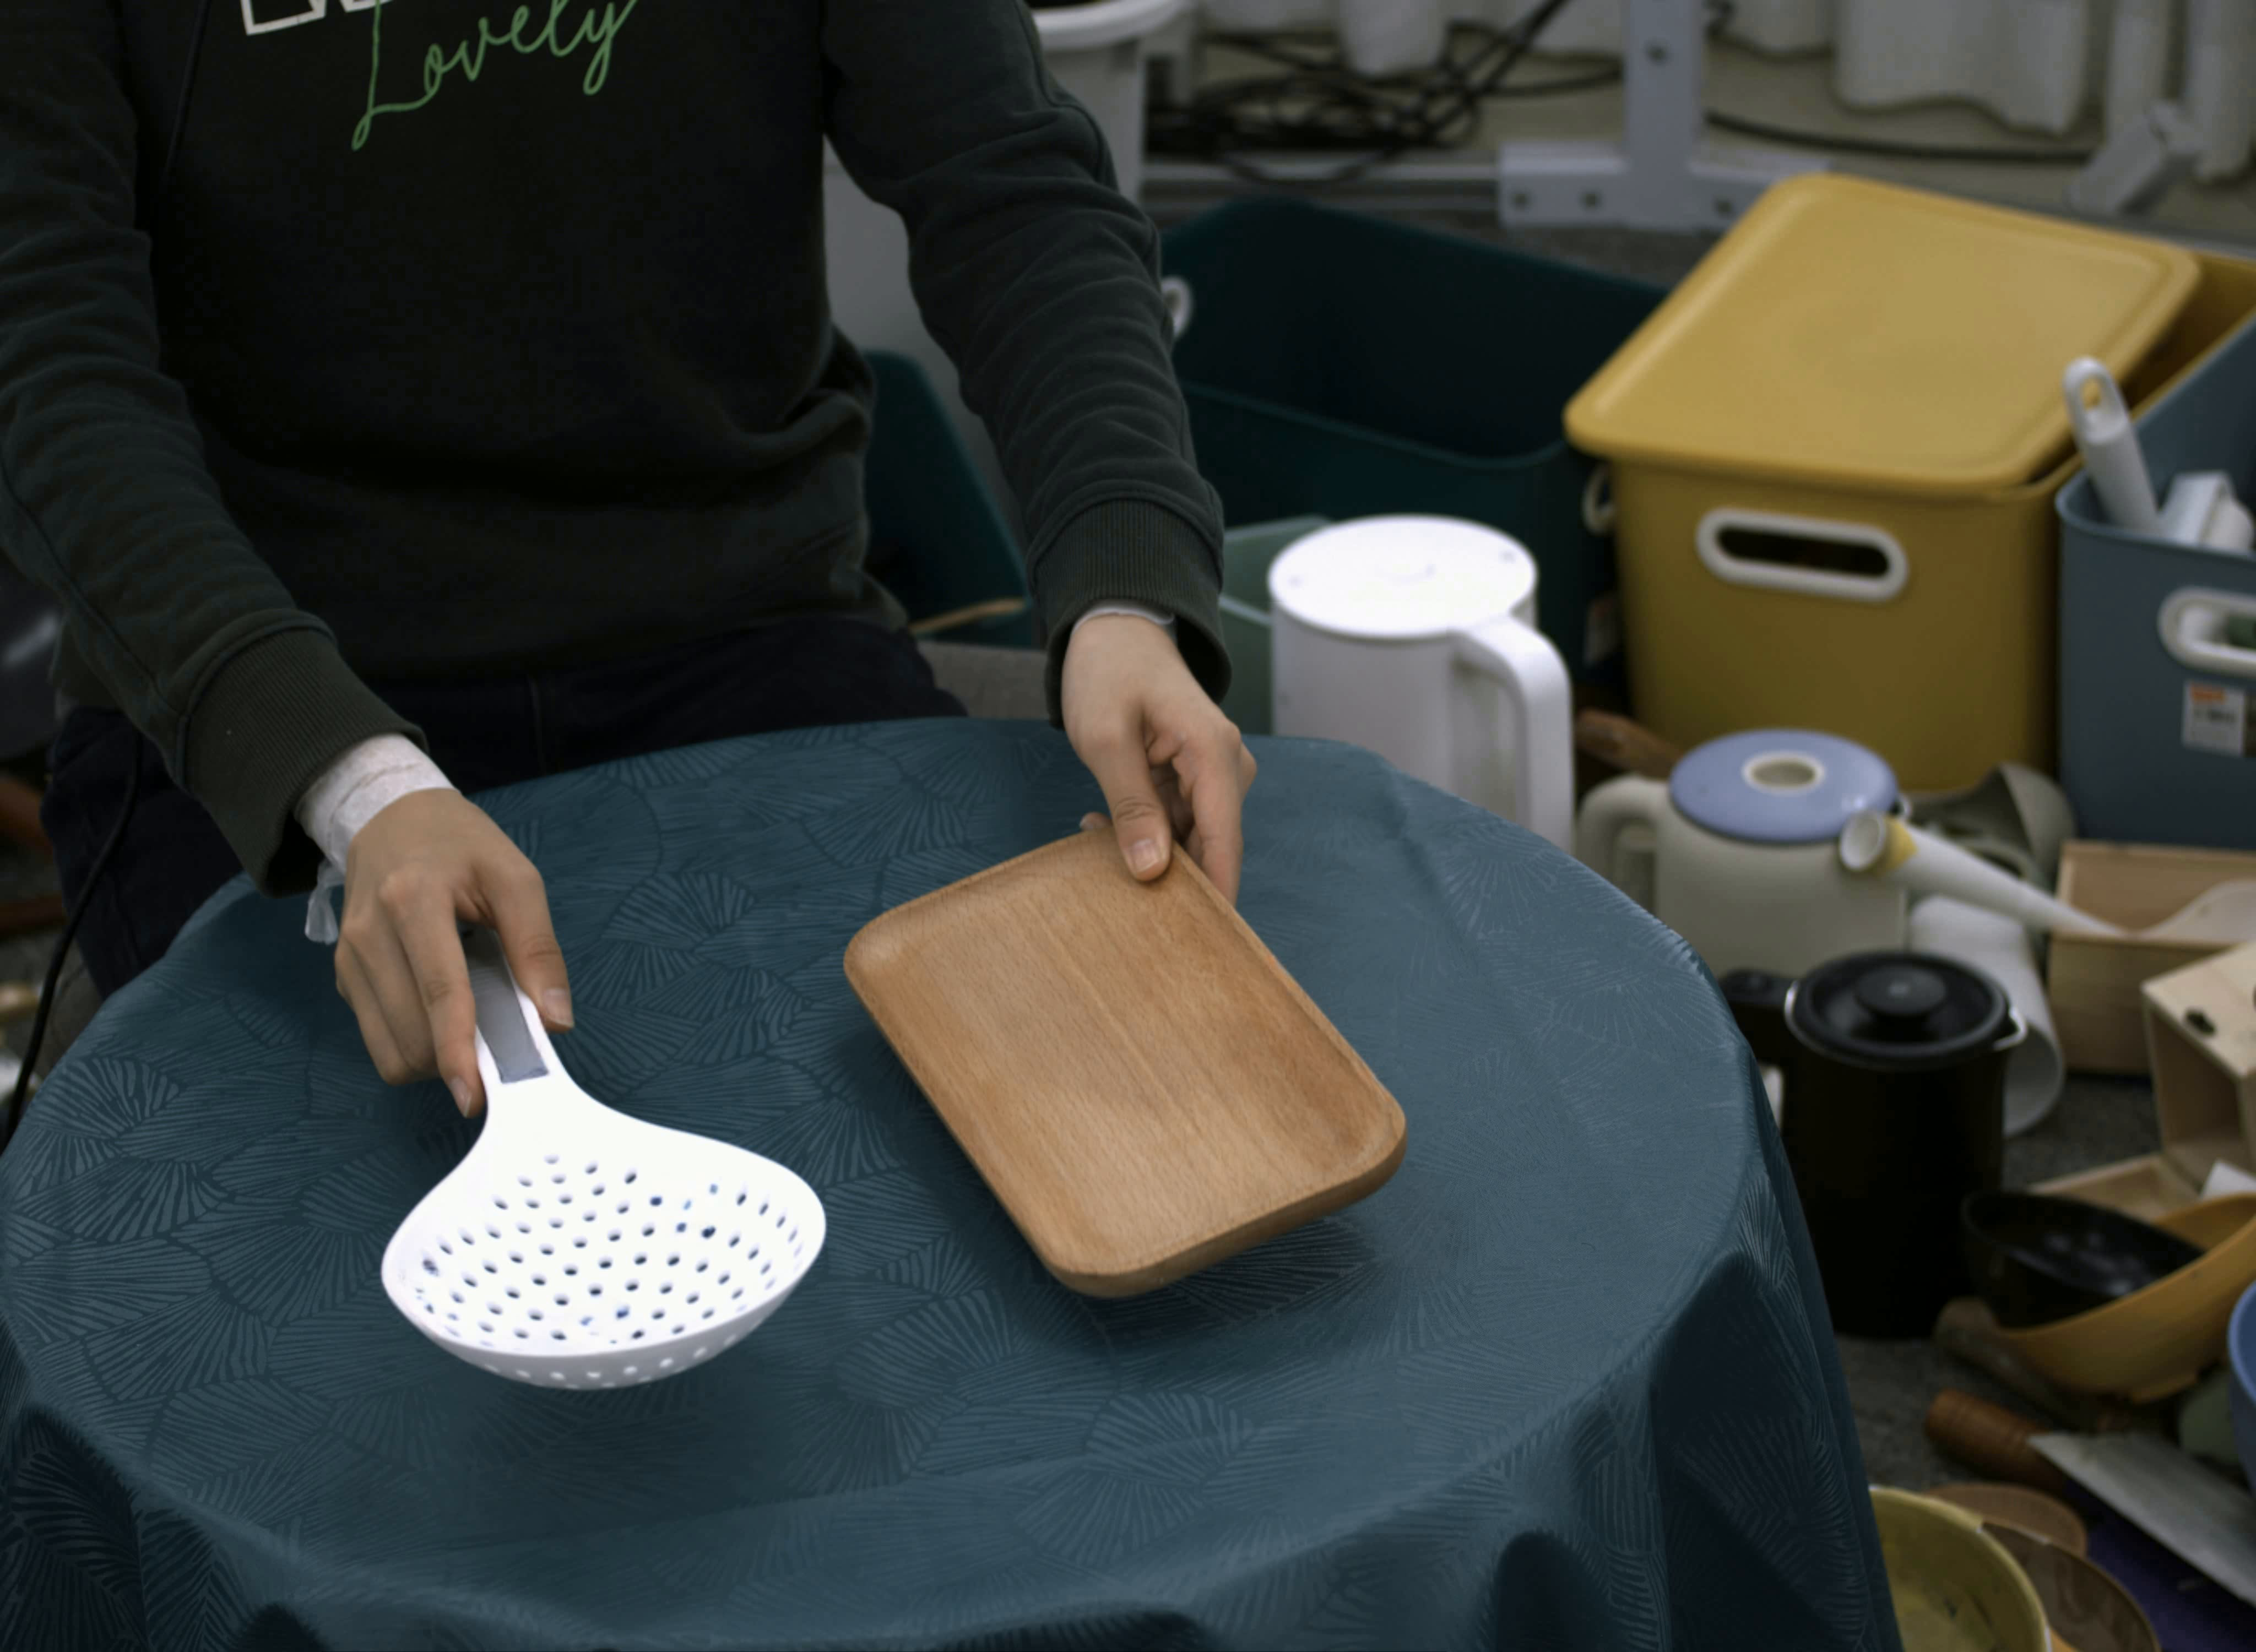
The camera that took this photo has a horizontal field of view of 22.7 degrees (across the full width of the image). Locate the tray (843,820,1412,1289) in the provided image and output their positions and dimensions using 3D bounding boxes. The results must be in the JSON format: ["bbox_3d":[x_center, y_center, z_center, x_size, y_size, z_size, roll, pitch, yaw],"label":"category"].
[{"bbox_3d":[-0.003,0.073,1.873,0.131,0.022,0.252,-20,30,-13],"label":"tray"}]

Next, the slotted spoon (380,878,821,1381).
[{"bbox_3d":[-0.191,0.092,1.817,0.136,0.045,0.353,-9,29,-13],"label":"slotted spoon"}]
